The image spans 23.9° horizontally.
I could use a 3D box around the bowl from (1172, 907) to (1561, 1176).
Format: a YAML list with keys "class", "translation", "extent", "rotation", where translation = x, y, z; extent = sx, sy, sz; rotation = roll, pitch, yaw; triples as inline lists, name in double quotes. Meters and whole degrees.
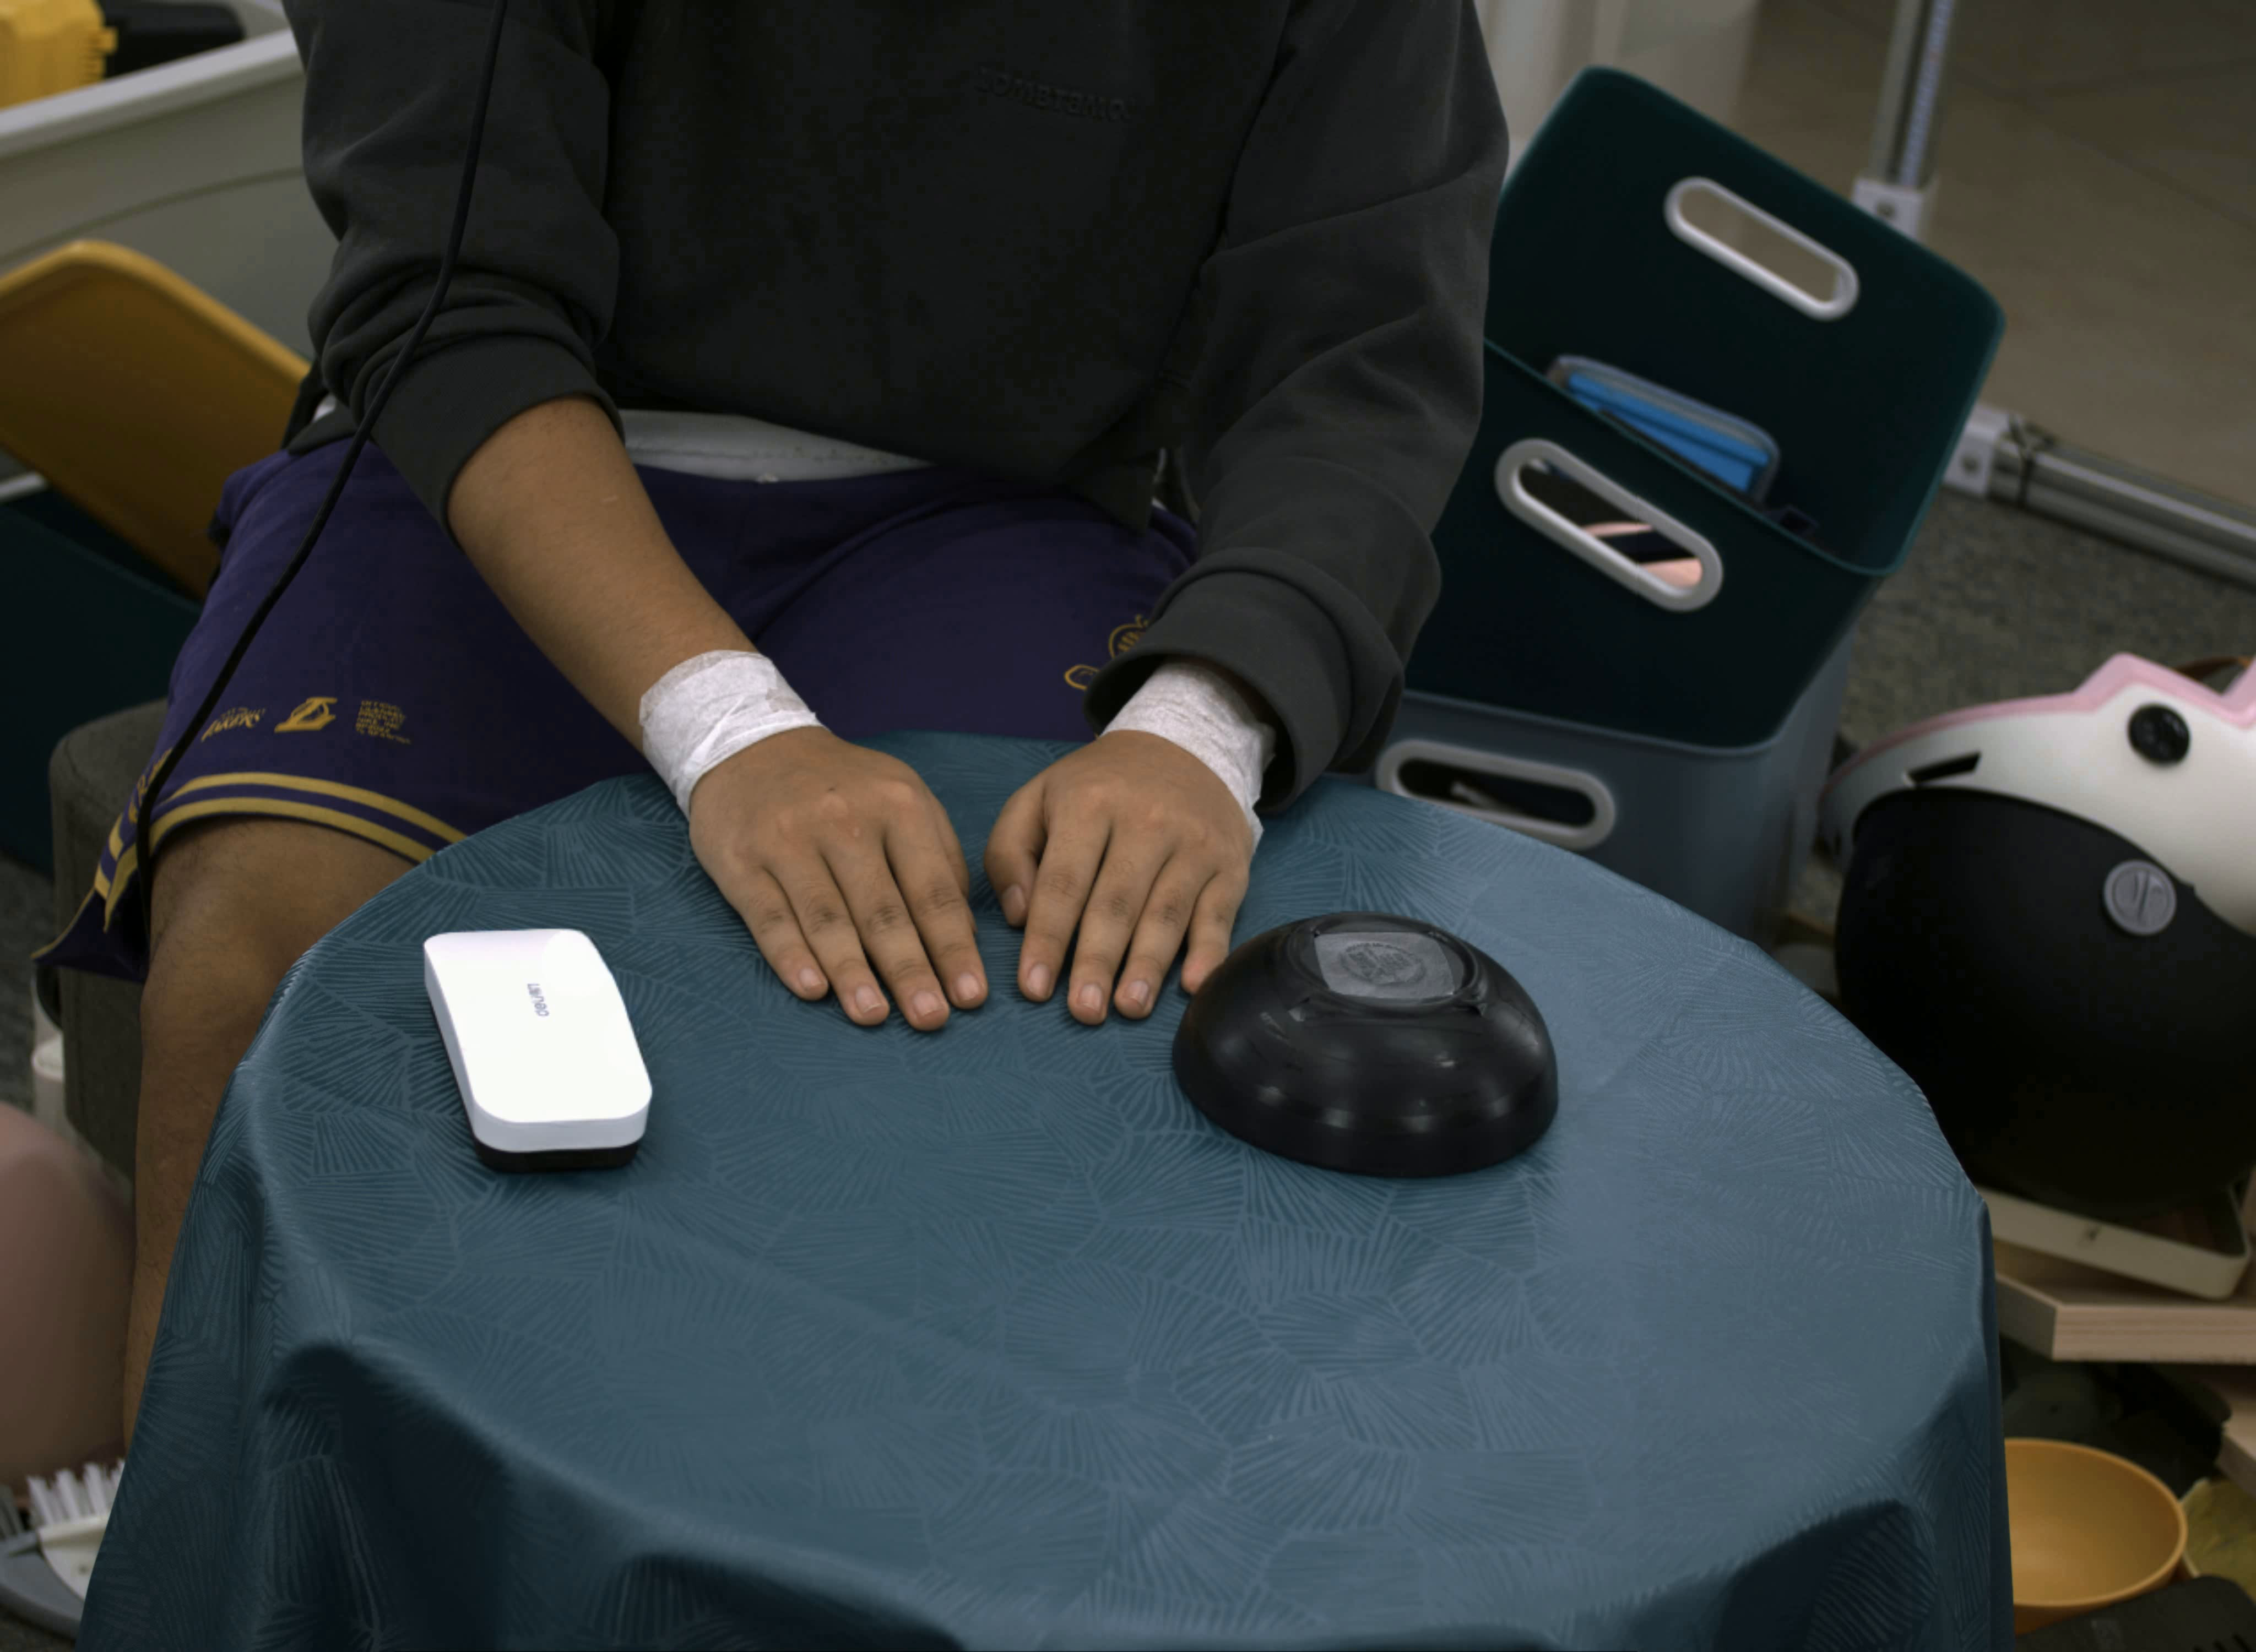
- class: "bowl"
  translation: [0.086, 0.066, 1.876]
  extent: [0.139, 0.049, 0.141]
  rotation: [4, 28, -3]

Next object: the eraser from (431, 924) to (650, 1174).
- class: "eraser"
  translation: [-0.201, 0.073, 1.821]
  extent: [0.063, 0.034, 0.132]
  rotation: [0, 29, -15]
